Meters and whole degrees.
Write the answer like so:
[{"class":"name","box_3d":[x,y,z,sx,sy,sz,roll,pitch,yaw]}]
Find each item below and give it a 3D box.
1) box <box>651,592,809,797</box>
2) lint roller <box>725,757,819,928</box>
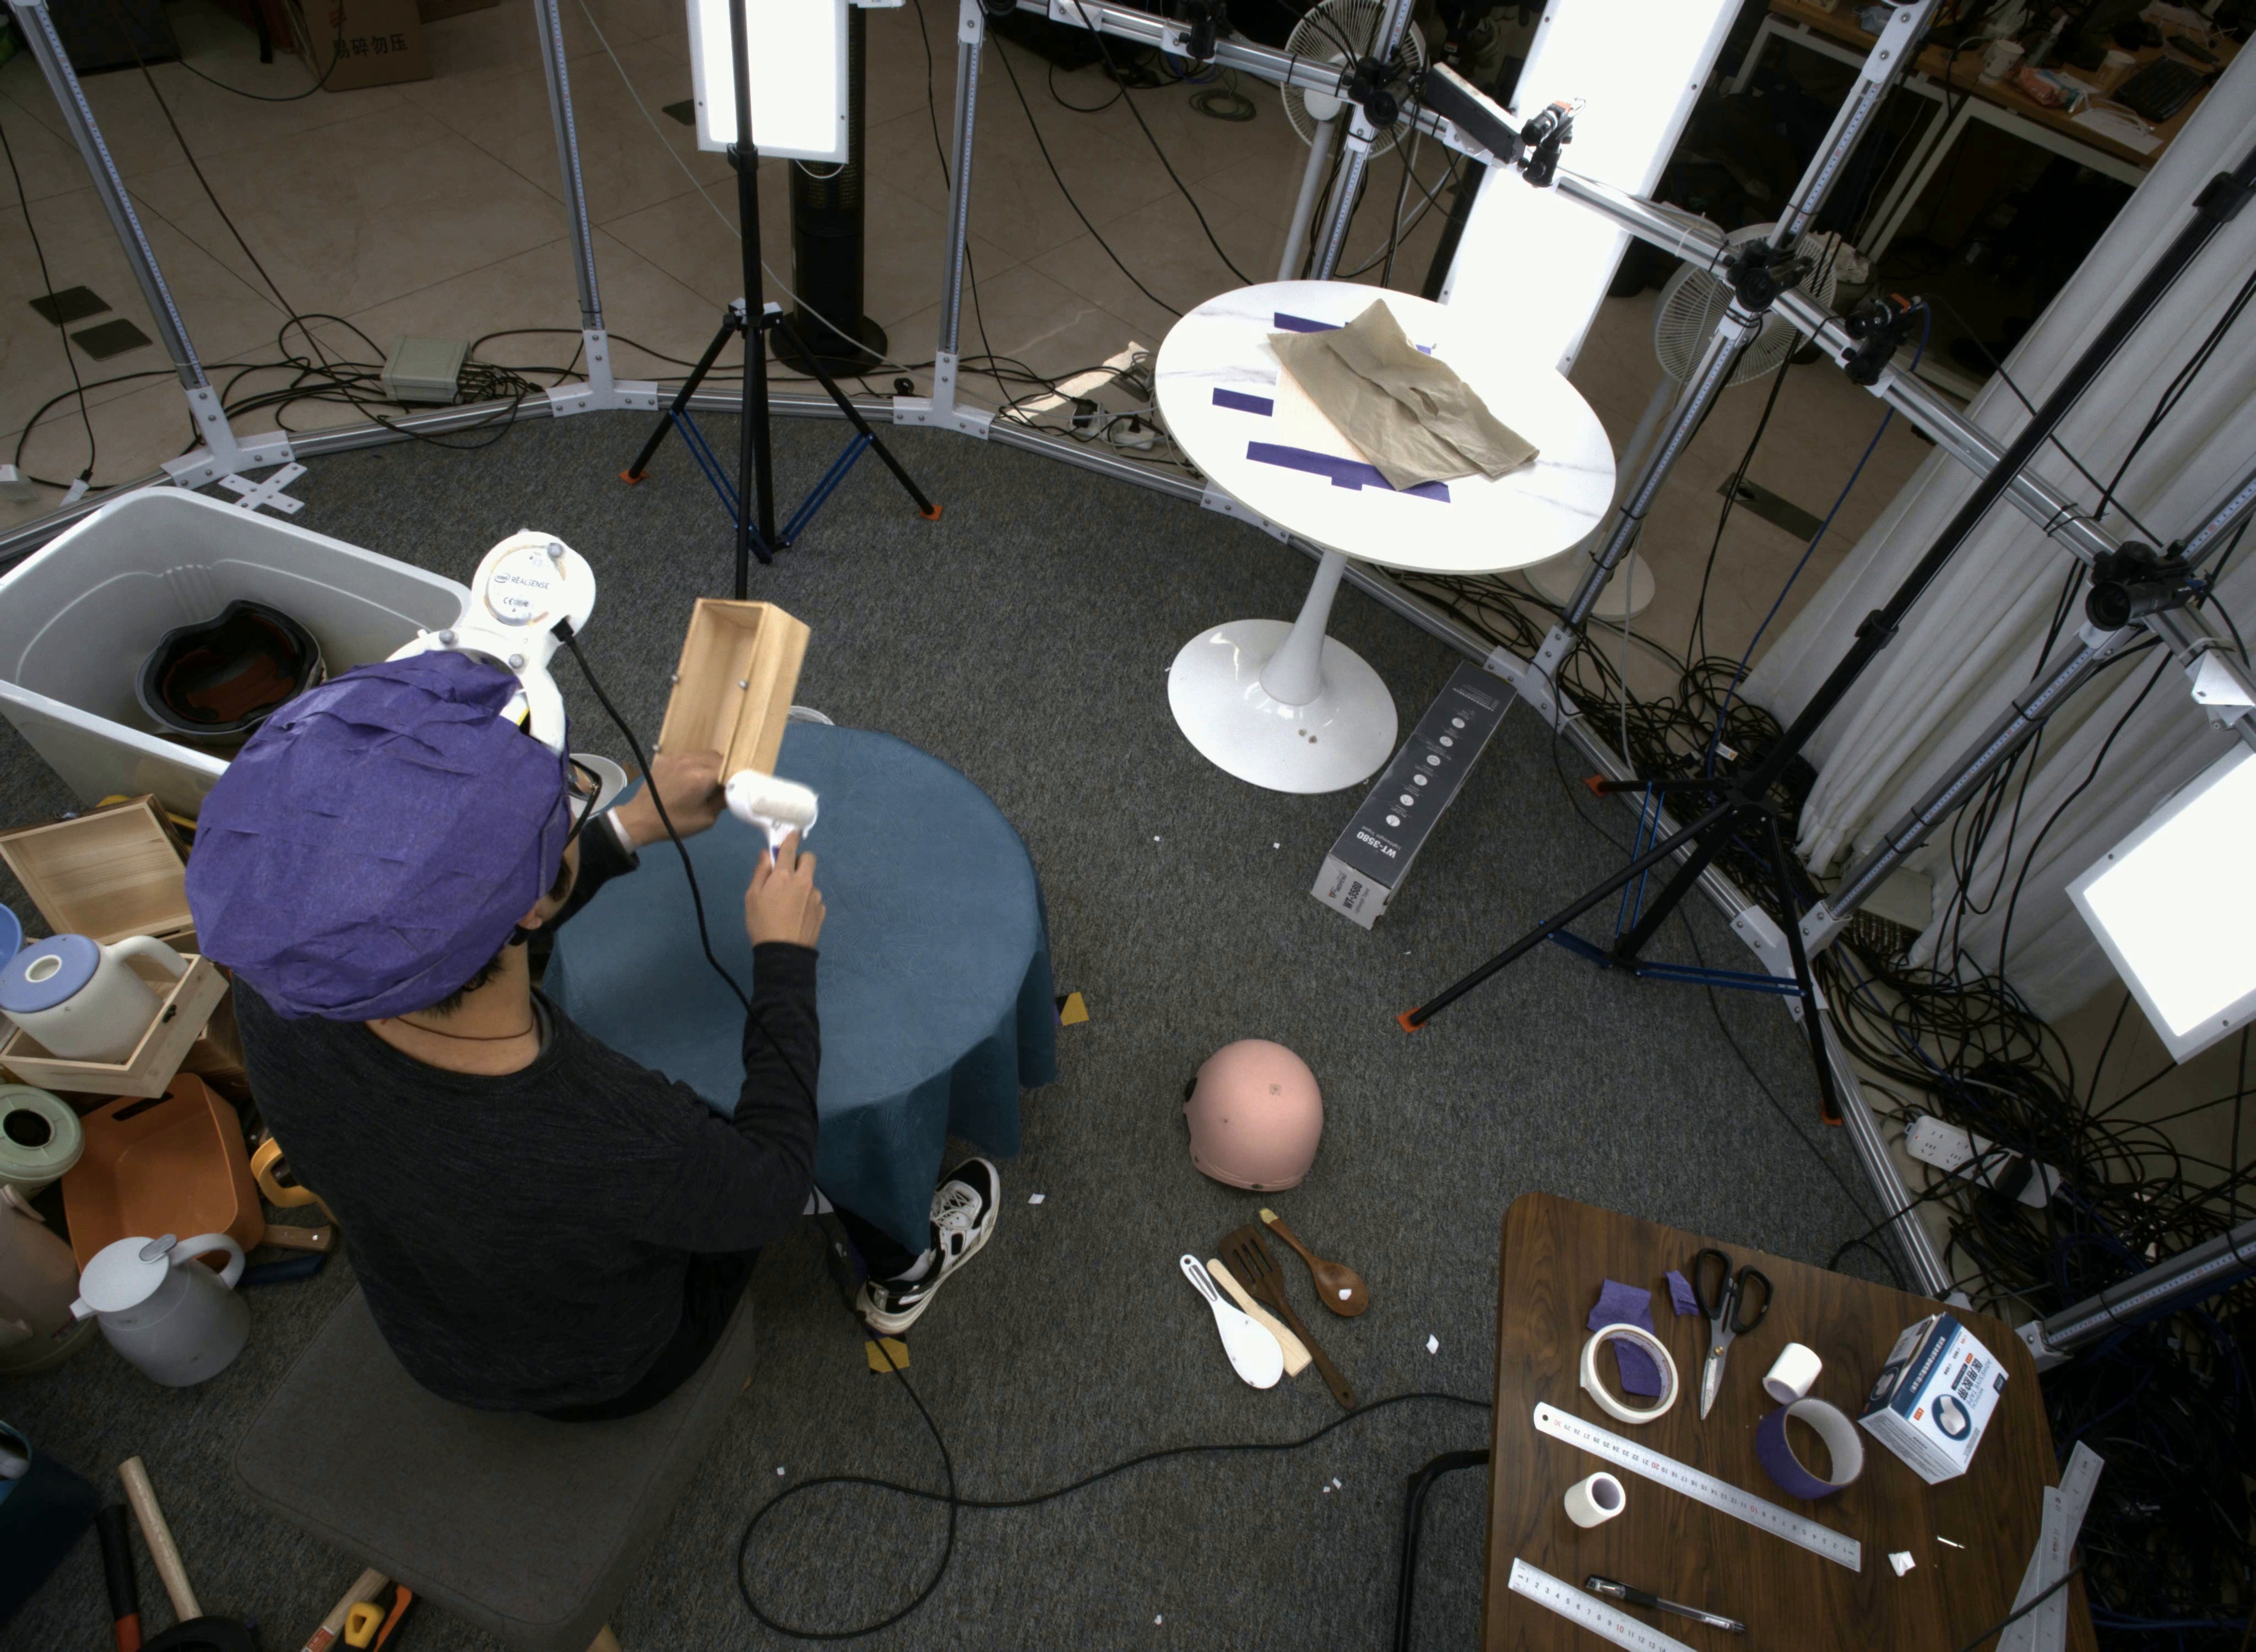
[{"class":"box","box_3d":[-0.445,-0.146,1.447,0.104,0.082,0.212,8,81,23]},{"class":"lint roller","box_3d":[-0.373,0.017,1.407,0.049,0.136,0.179,-23,73,18]}]
